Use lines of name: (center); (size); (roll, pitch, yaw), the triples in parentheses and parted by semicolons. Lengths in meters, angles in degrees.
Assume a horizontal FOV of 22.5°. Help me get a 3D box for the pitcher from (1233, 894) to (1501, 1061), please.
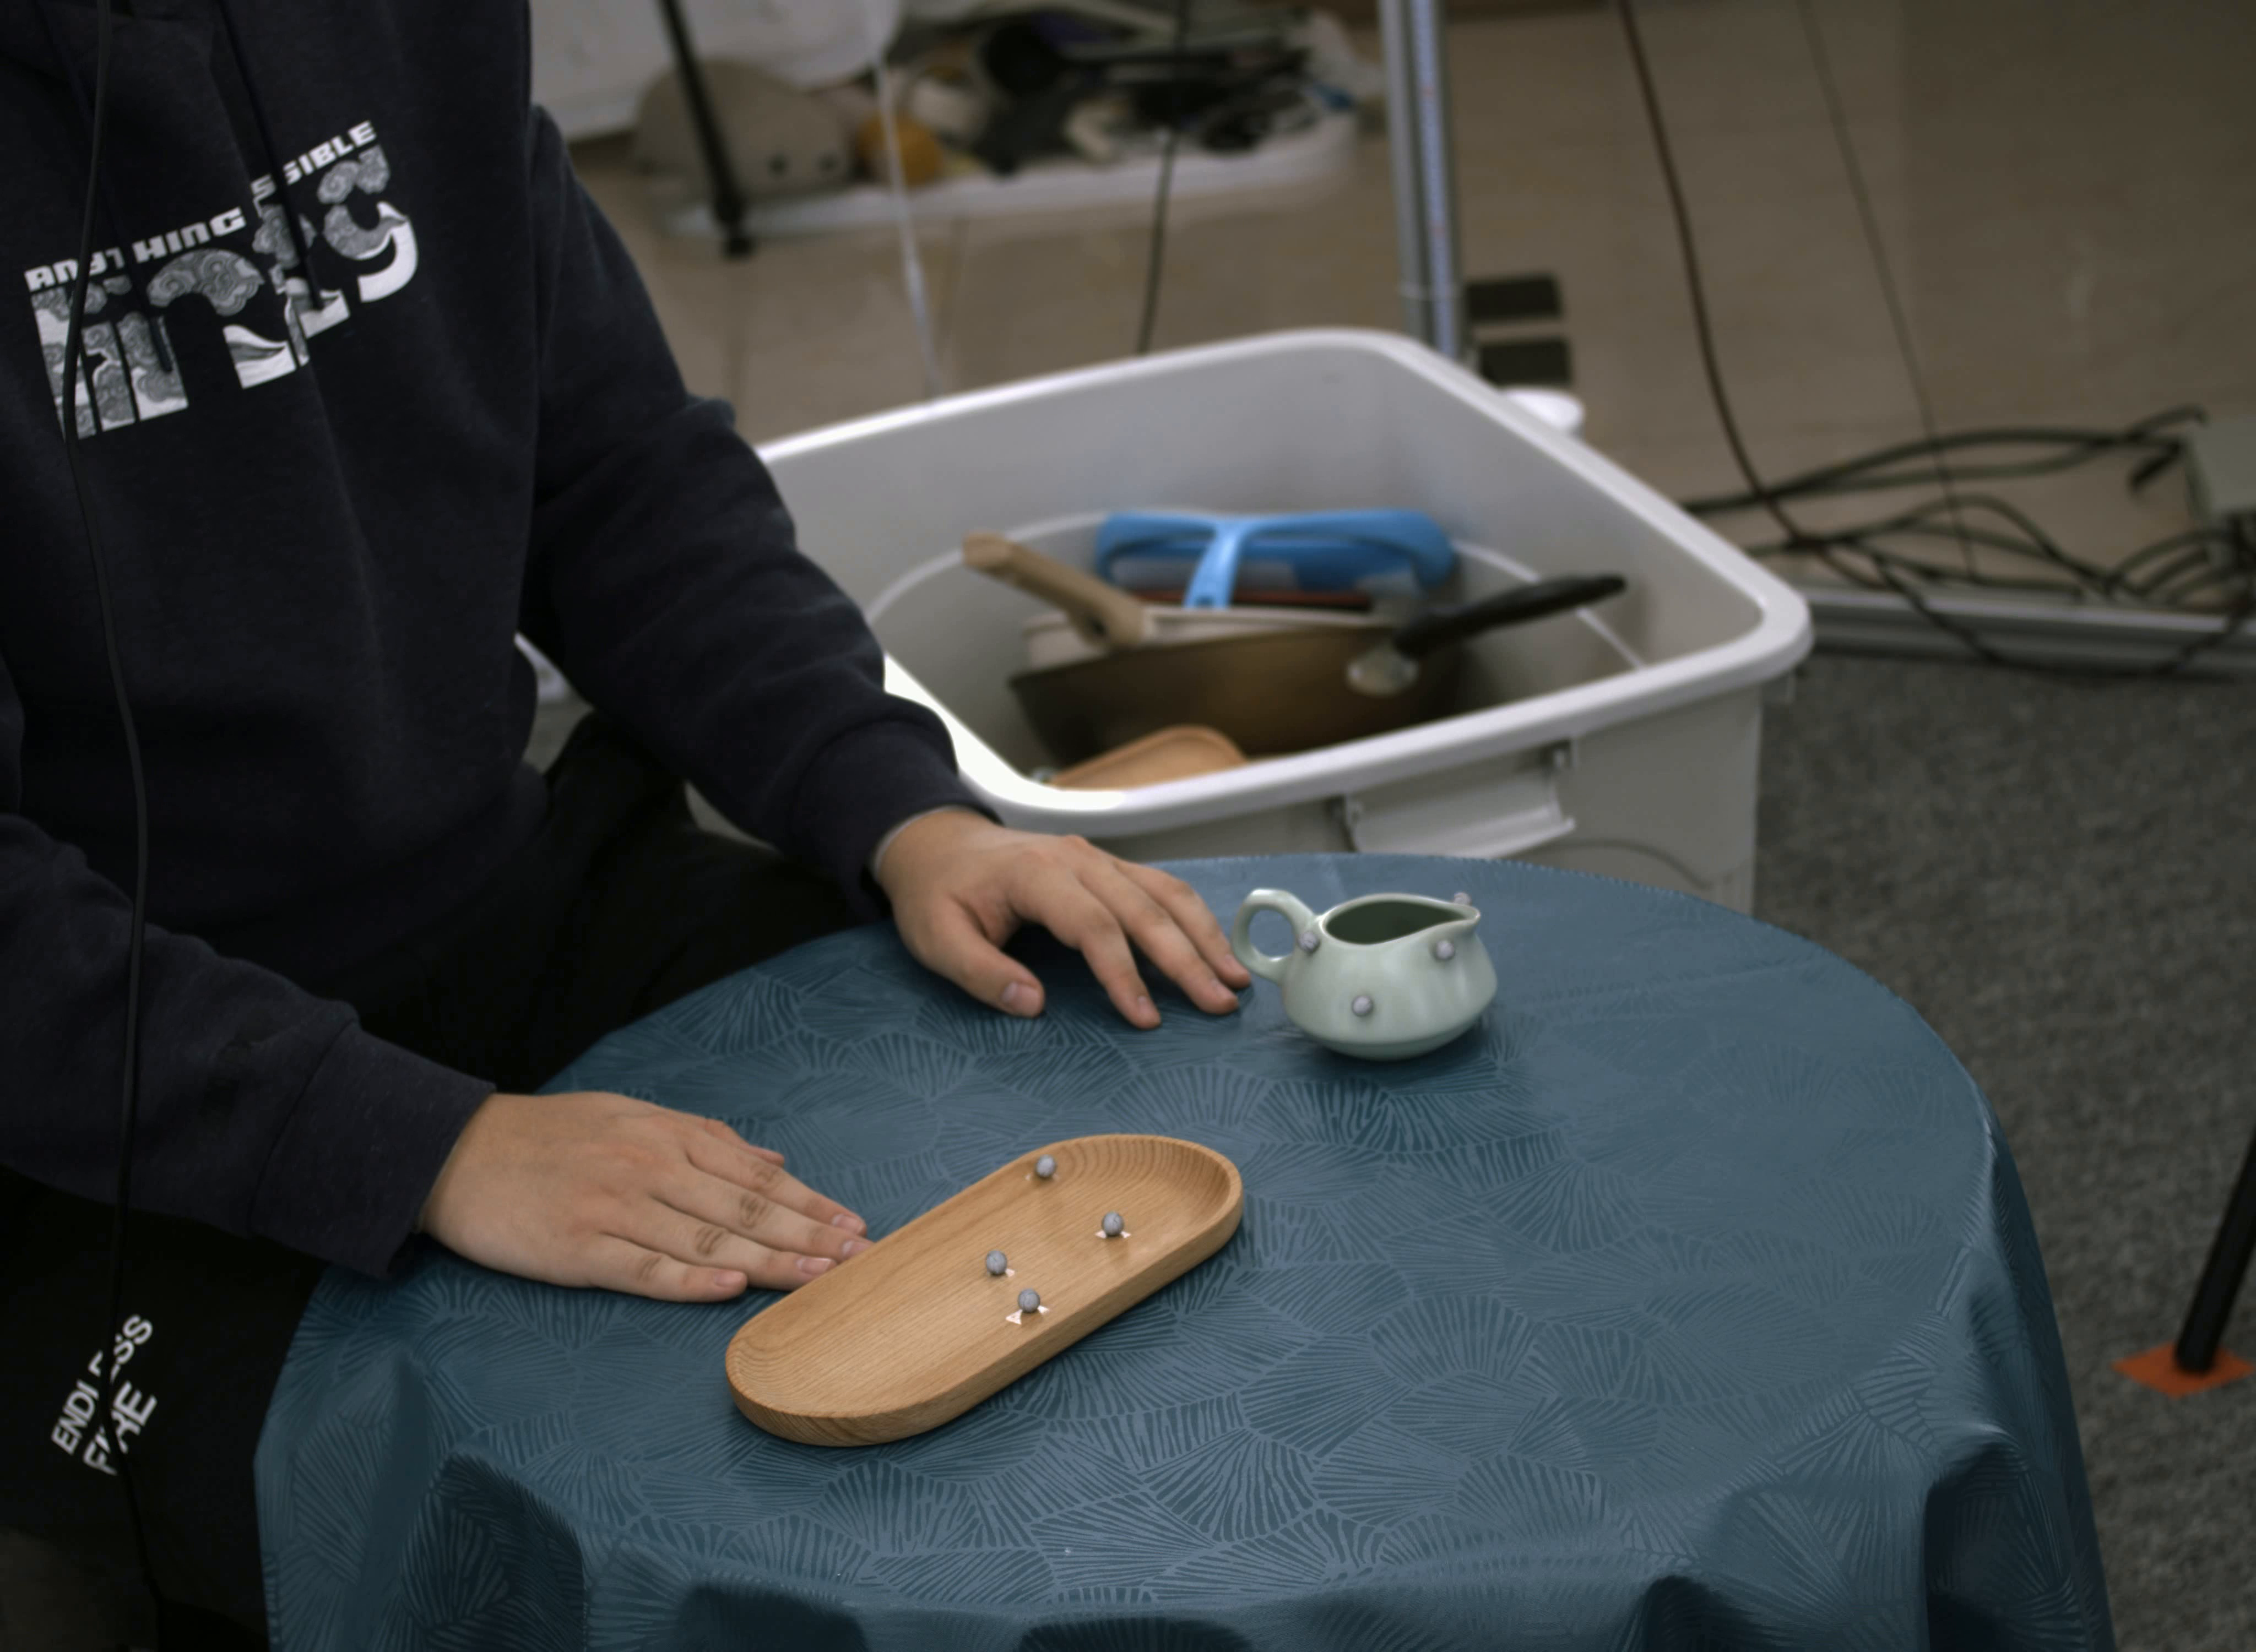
pitcher: (0.093, 0.057, 2.238); (0.108, 0.061, 0.085); (2, 25, 22)

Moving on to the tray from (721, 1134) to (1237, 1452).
tray: (-0.052, 0.169, 2.076); (0.101, 0.020, 0.229); (14, 33, 40)
